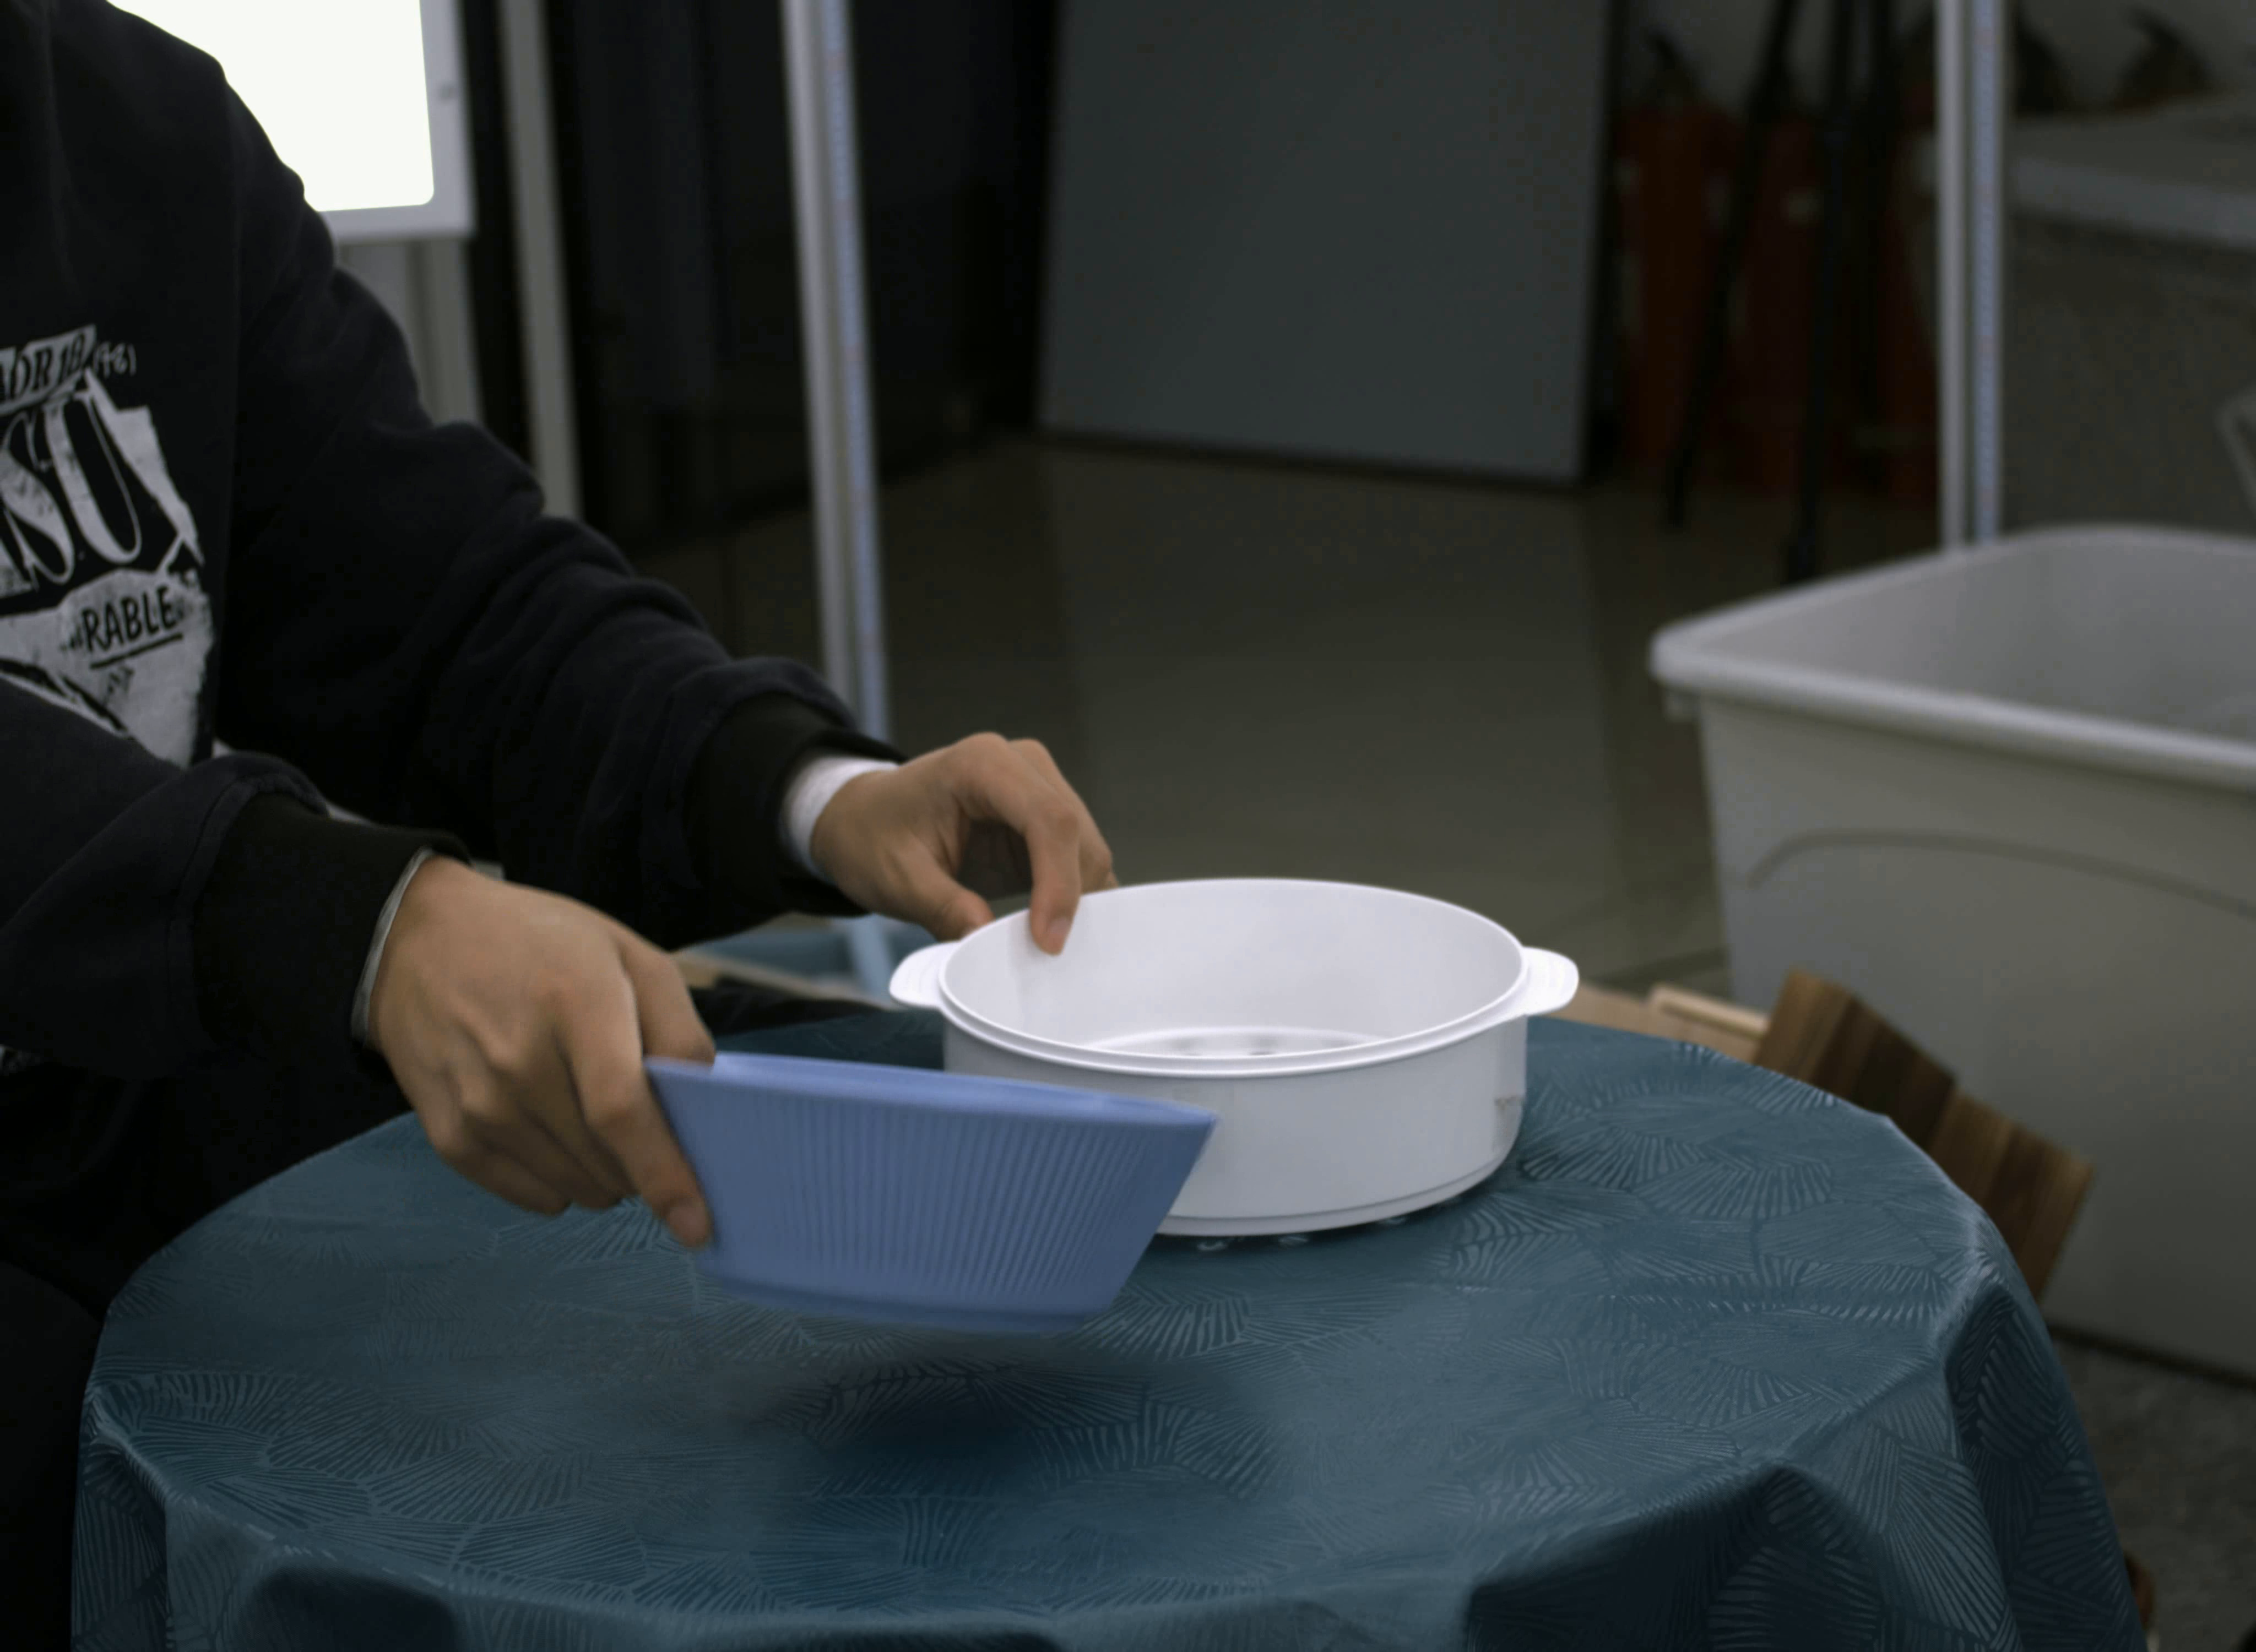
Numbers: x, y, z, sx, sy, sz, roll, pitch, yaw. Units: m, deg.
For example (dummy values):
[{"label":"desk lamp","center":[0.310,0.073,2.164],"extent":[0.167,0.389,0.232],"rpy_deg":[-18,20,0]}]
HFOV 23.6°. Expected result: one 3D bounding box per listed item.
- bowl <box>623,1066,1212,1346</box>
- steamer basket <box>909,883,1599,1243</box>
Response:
[{"label":"bowl","center":[-0.064,0.111,1.575],"extent":[0.174,0.071,0.176],"rpy_deg":[6,-1,-1]},{"label":"steamer basket","center":[0.041,0.078,1.783],"extent":[0.228,0.070,0.201],"rpy_deg":[2,16,7]}]
